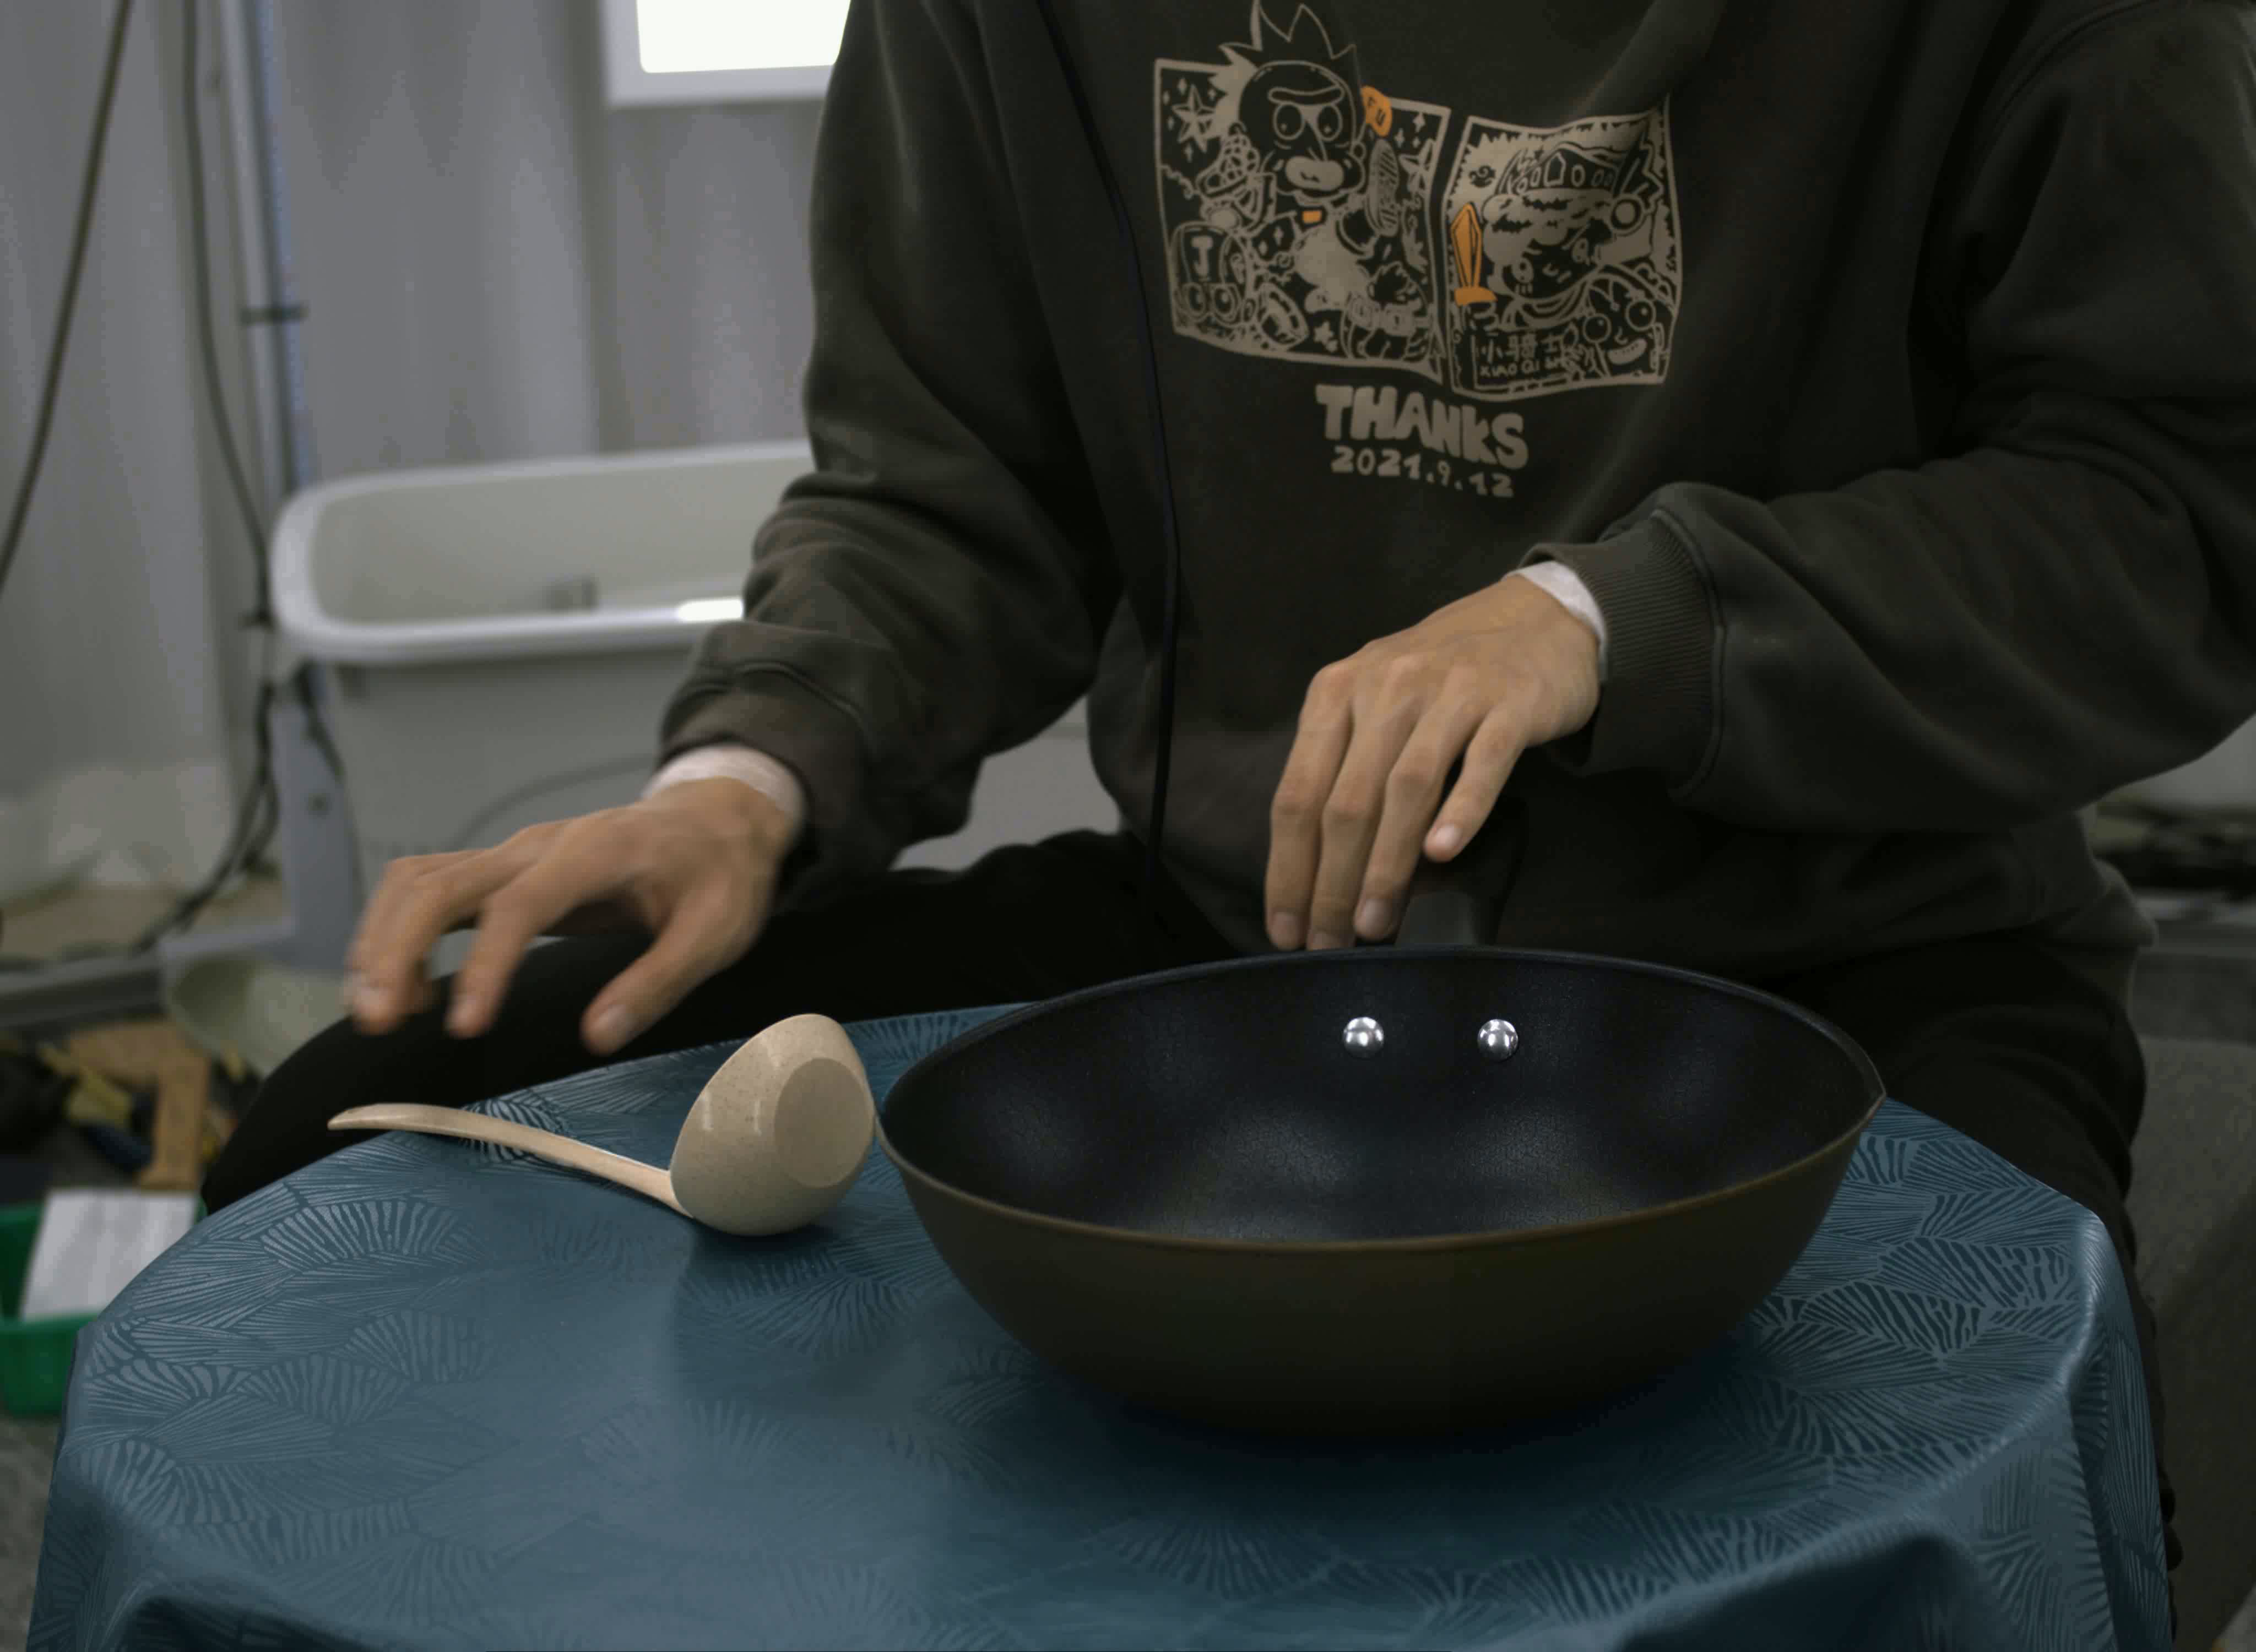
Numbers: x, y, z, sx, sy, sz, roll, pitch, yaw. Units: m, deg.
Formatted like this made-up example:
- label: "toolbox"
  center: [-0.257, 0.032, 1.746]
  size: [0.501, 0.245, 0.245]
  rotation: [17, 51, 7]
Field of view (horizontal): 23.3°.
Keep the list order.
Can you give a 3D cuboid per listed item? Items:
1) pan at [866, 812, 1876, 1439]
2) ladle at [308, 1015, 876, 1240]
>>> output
- label: "pan"
  center: [0.085, 0.088, 1.648]
  size: [0.287, 0.086, 0.465]
  rotation: [0, 14, 10]
- label: "ladle"
  center: [-0.184, 0.081, 1.758]
  size: [0.255, 0.072, 0.072]
  rotation: [9, 22, 42]
